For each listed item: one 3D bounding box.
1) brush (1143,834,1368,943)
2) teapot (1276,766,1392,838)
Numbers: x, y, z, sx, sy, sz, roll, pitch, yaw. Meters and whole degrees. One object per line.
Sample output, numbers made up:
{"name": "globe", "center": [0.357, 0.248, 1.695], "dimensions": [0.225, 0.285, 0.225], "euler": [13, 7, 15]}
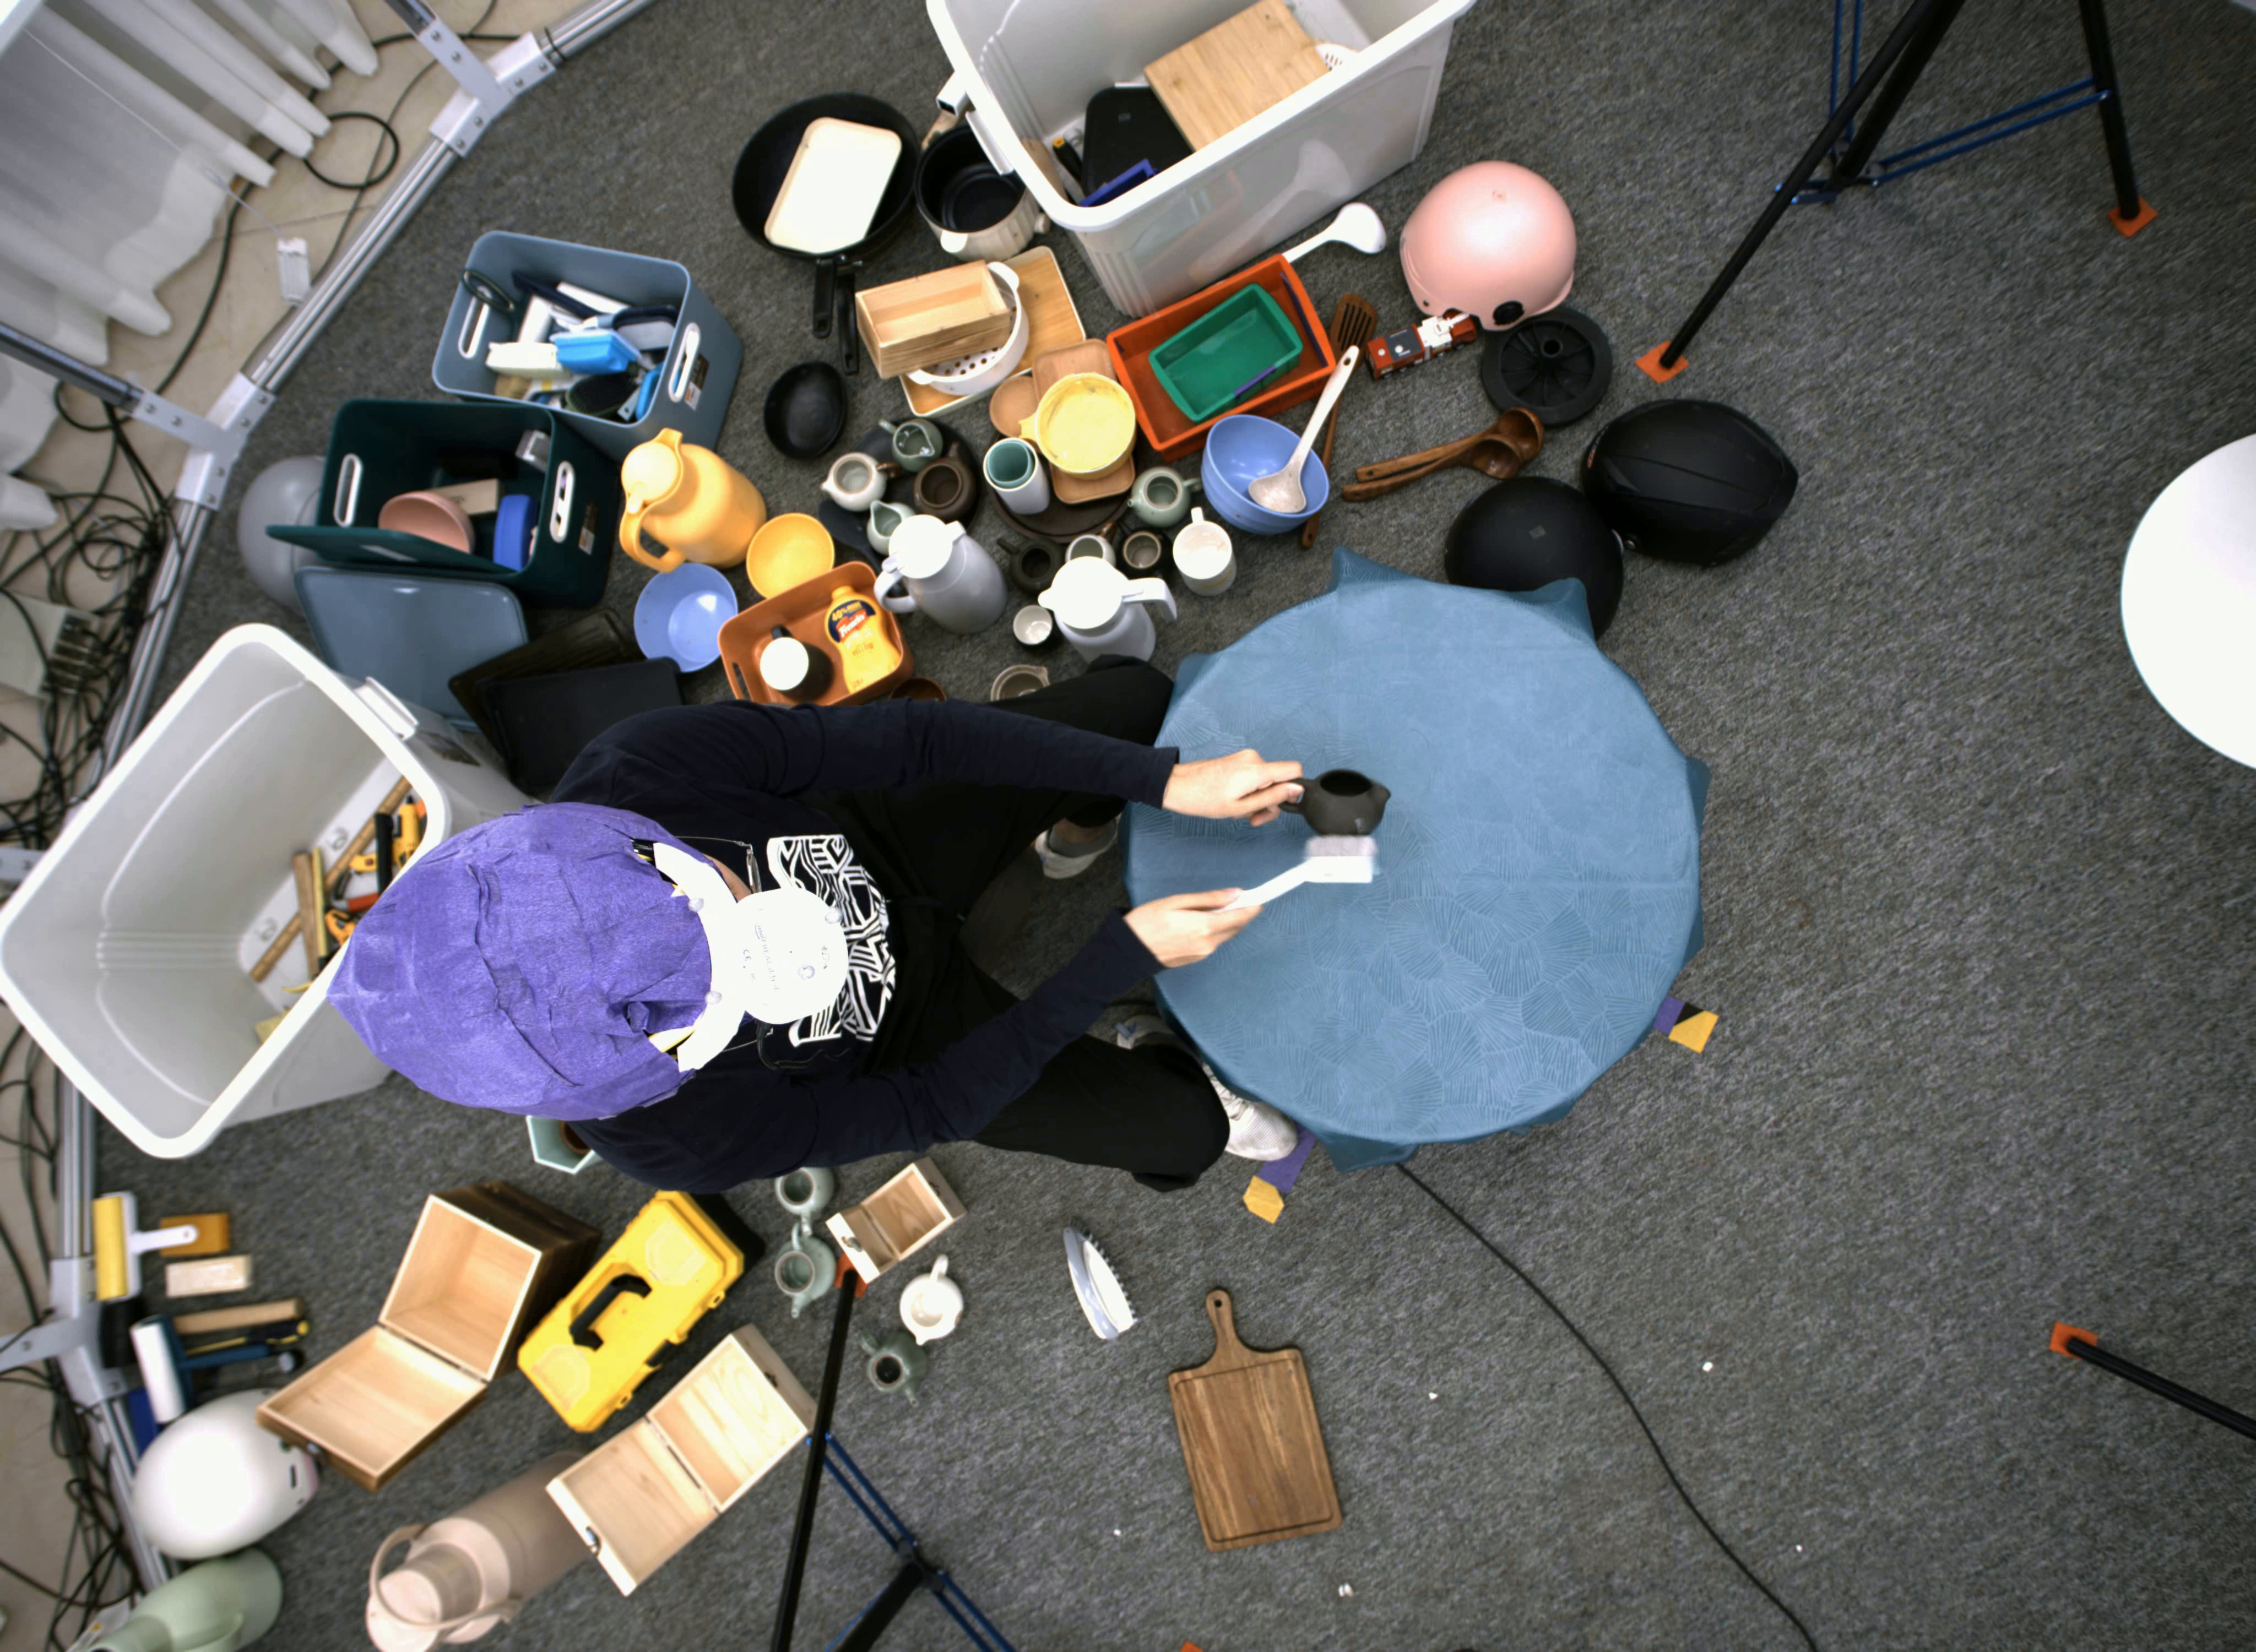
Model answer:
{"name": "brush", "center": [0.124, 0.059, 1.383], "dimensions": [0.246, 0.035, 0.049], "euler": [-20, 65, 17]}
{"name": "teapot", "center": [0.205, -0.027, 1.378], "dimensions": [0.114, 0.081, 0.054], "euler": [7, 127, 12]}
